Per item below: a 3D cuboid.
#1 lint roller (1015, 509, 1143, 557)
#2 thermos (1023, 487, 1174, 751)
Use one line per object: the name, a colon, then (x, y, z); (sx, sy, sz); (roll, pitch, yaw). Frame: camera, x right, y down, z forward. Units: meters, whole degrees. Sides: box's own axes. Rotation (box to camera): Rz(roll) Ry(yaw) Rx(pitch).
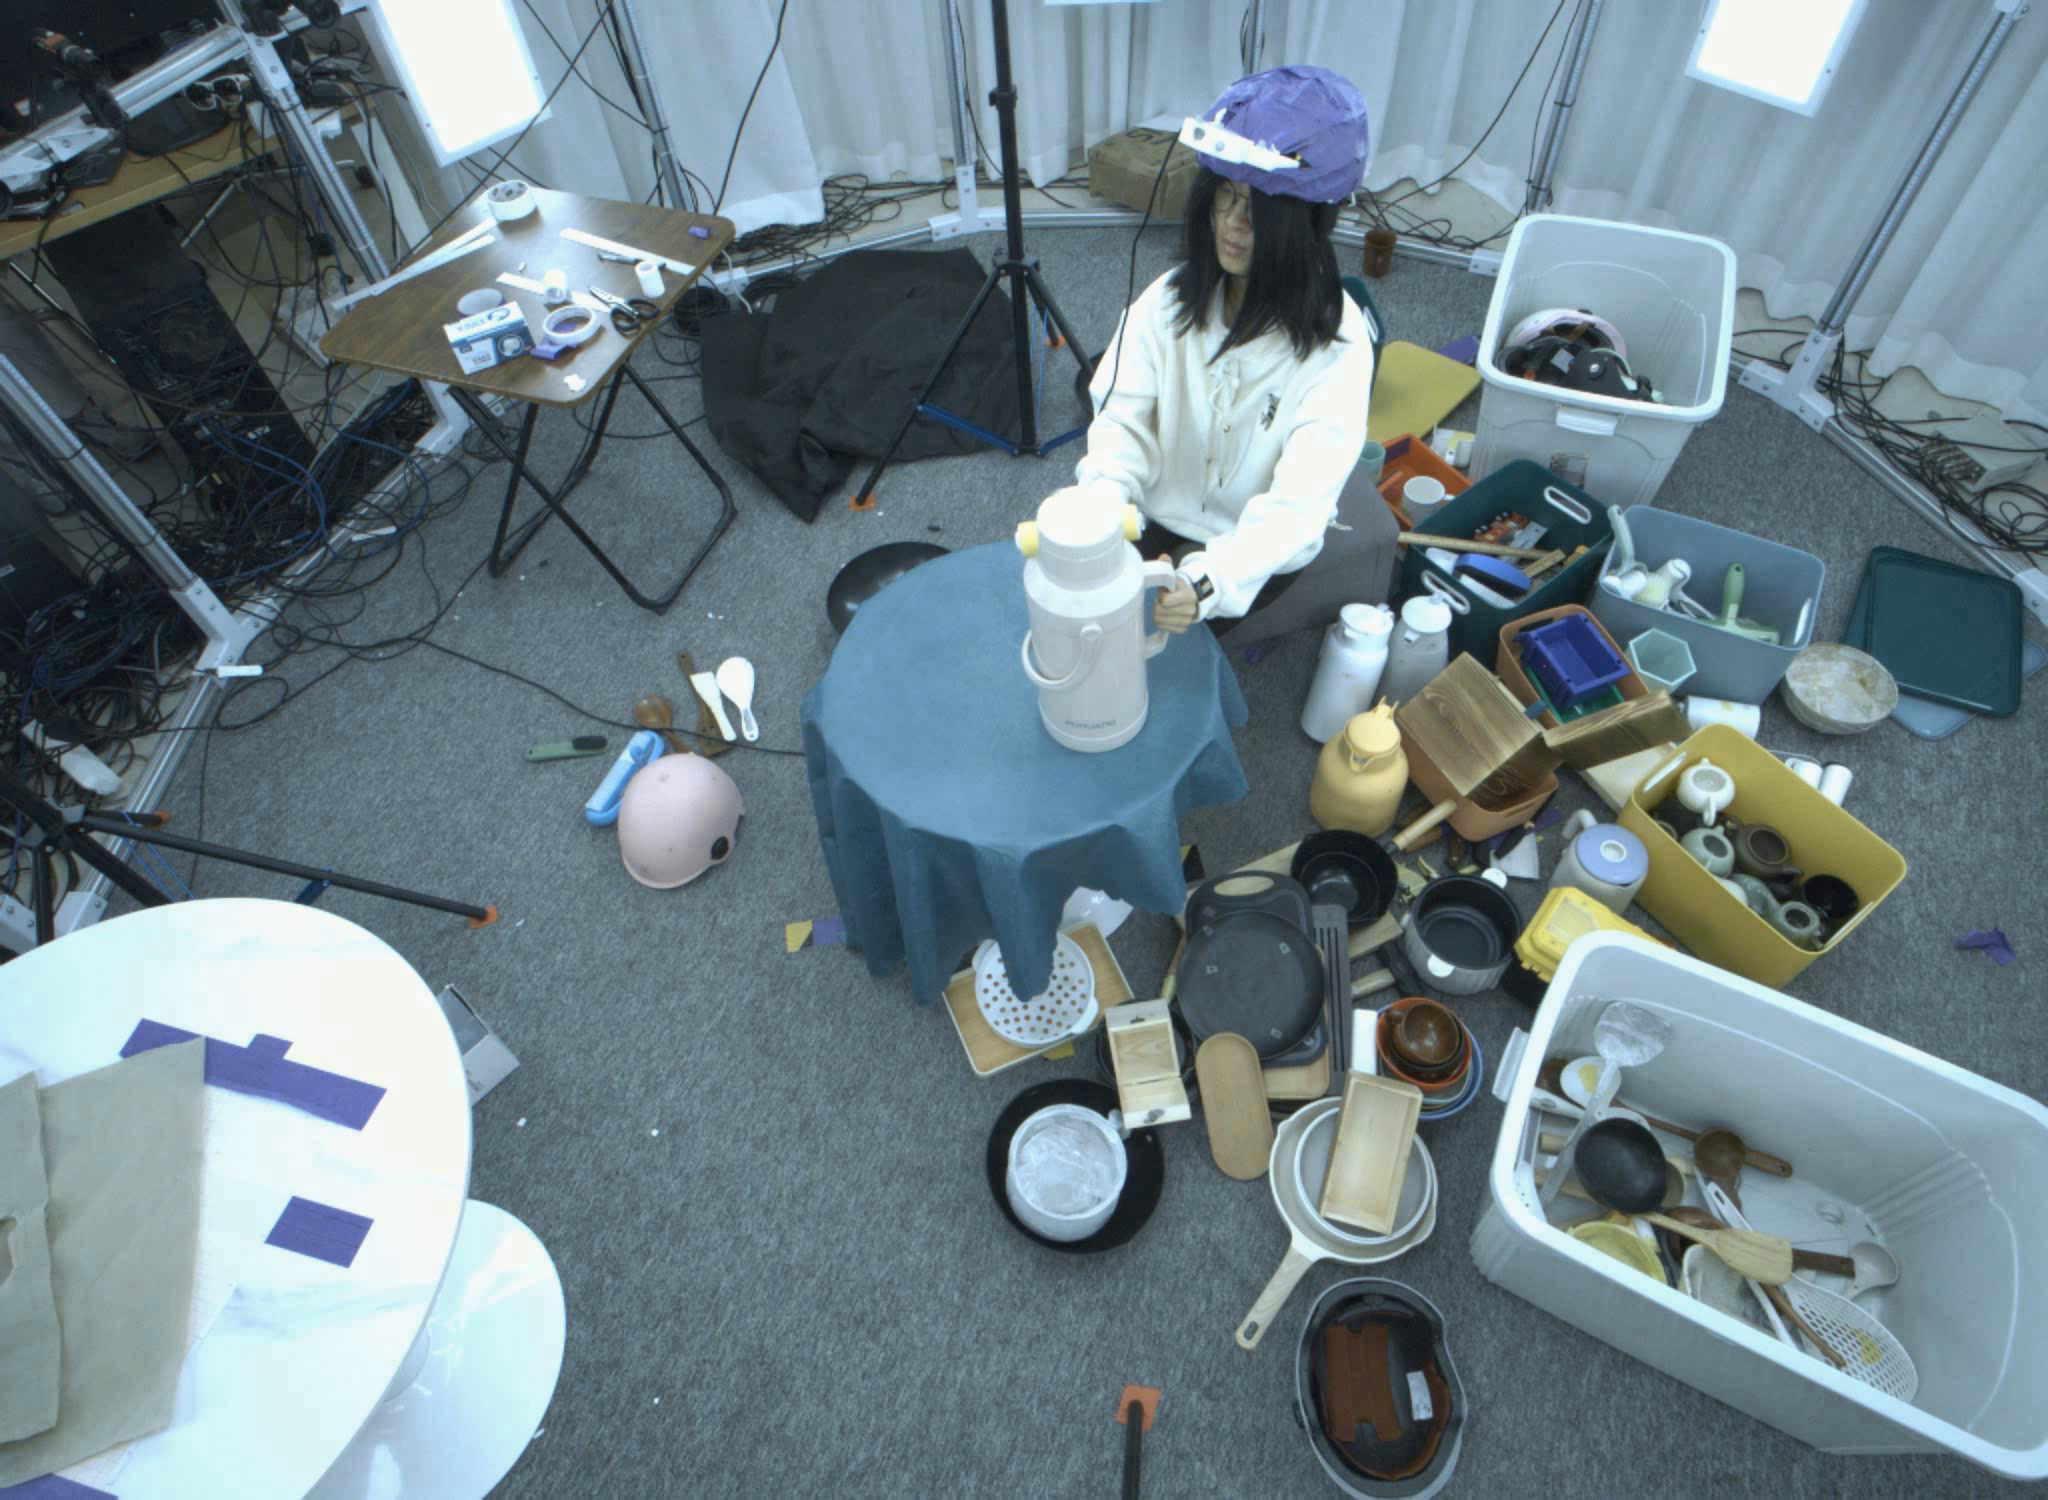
lint roller: (0.081, -0.318, 1.736); (0.173, 0.052, 0.191); (-6, 20, 7)
thermos: (0.098, -0.173, 1.658); (0.207, 0.411, 0.173); (-7, 55, 1)
